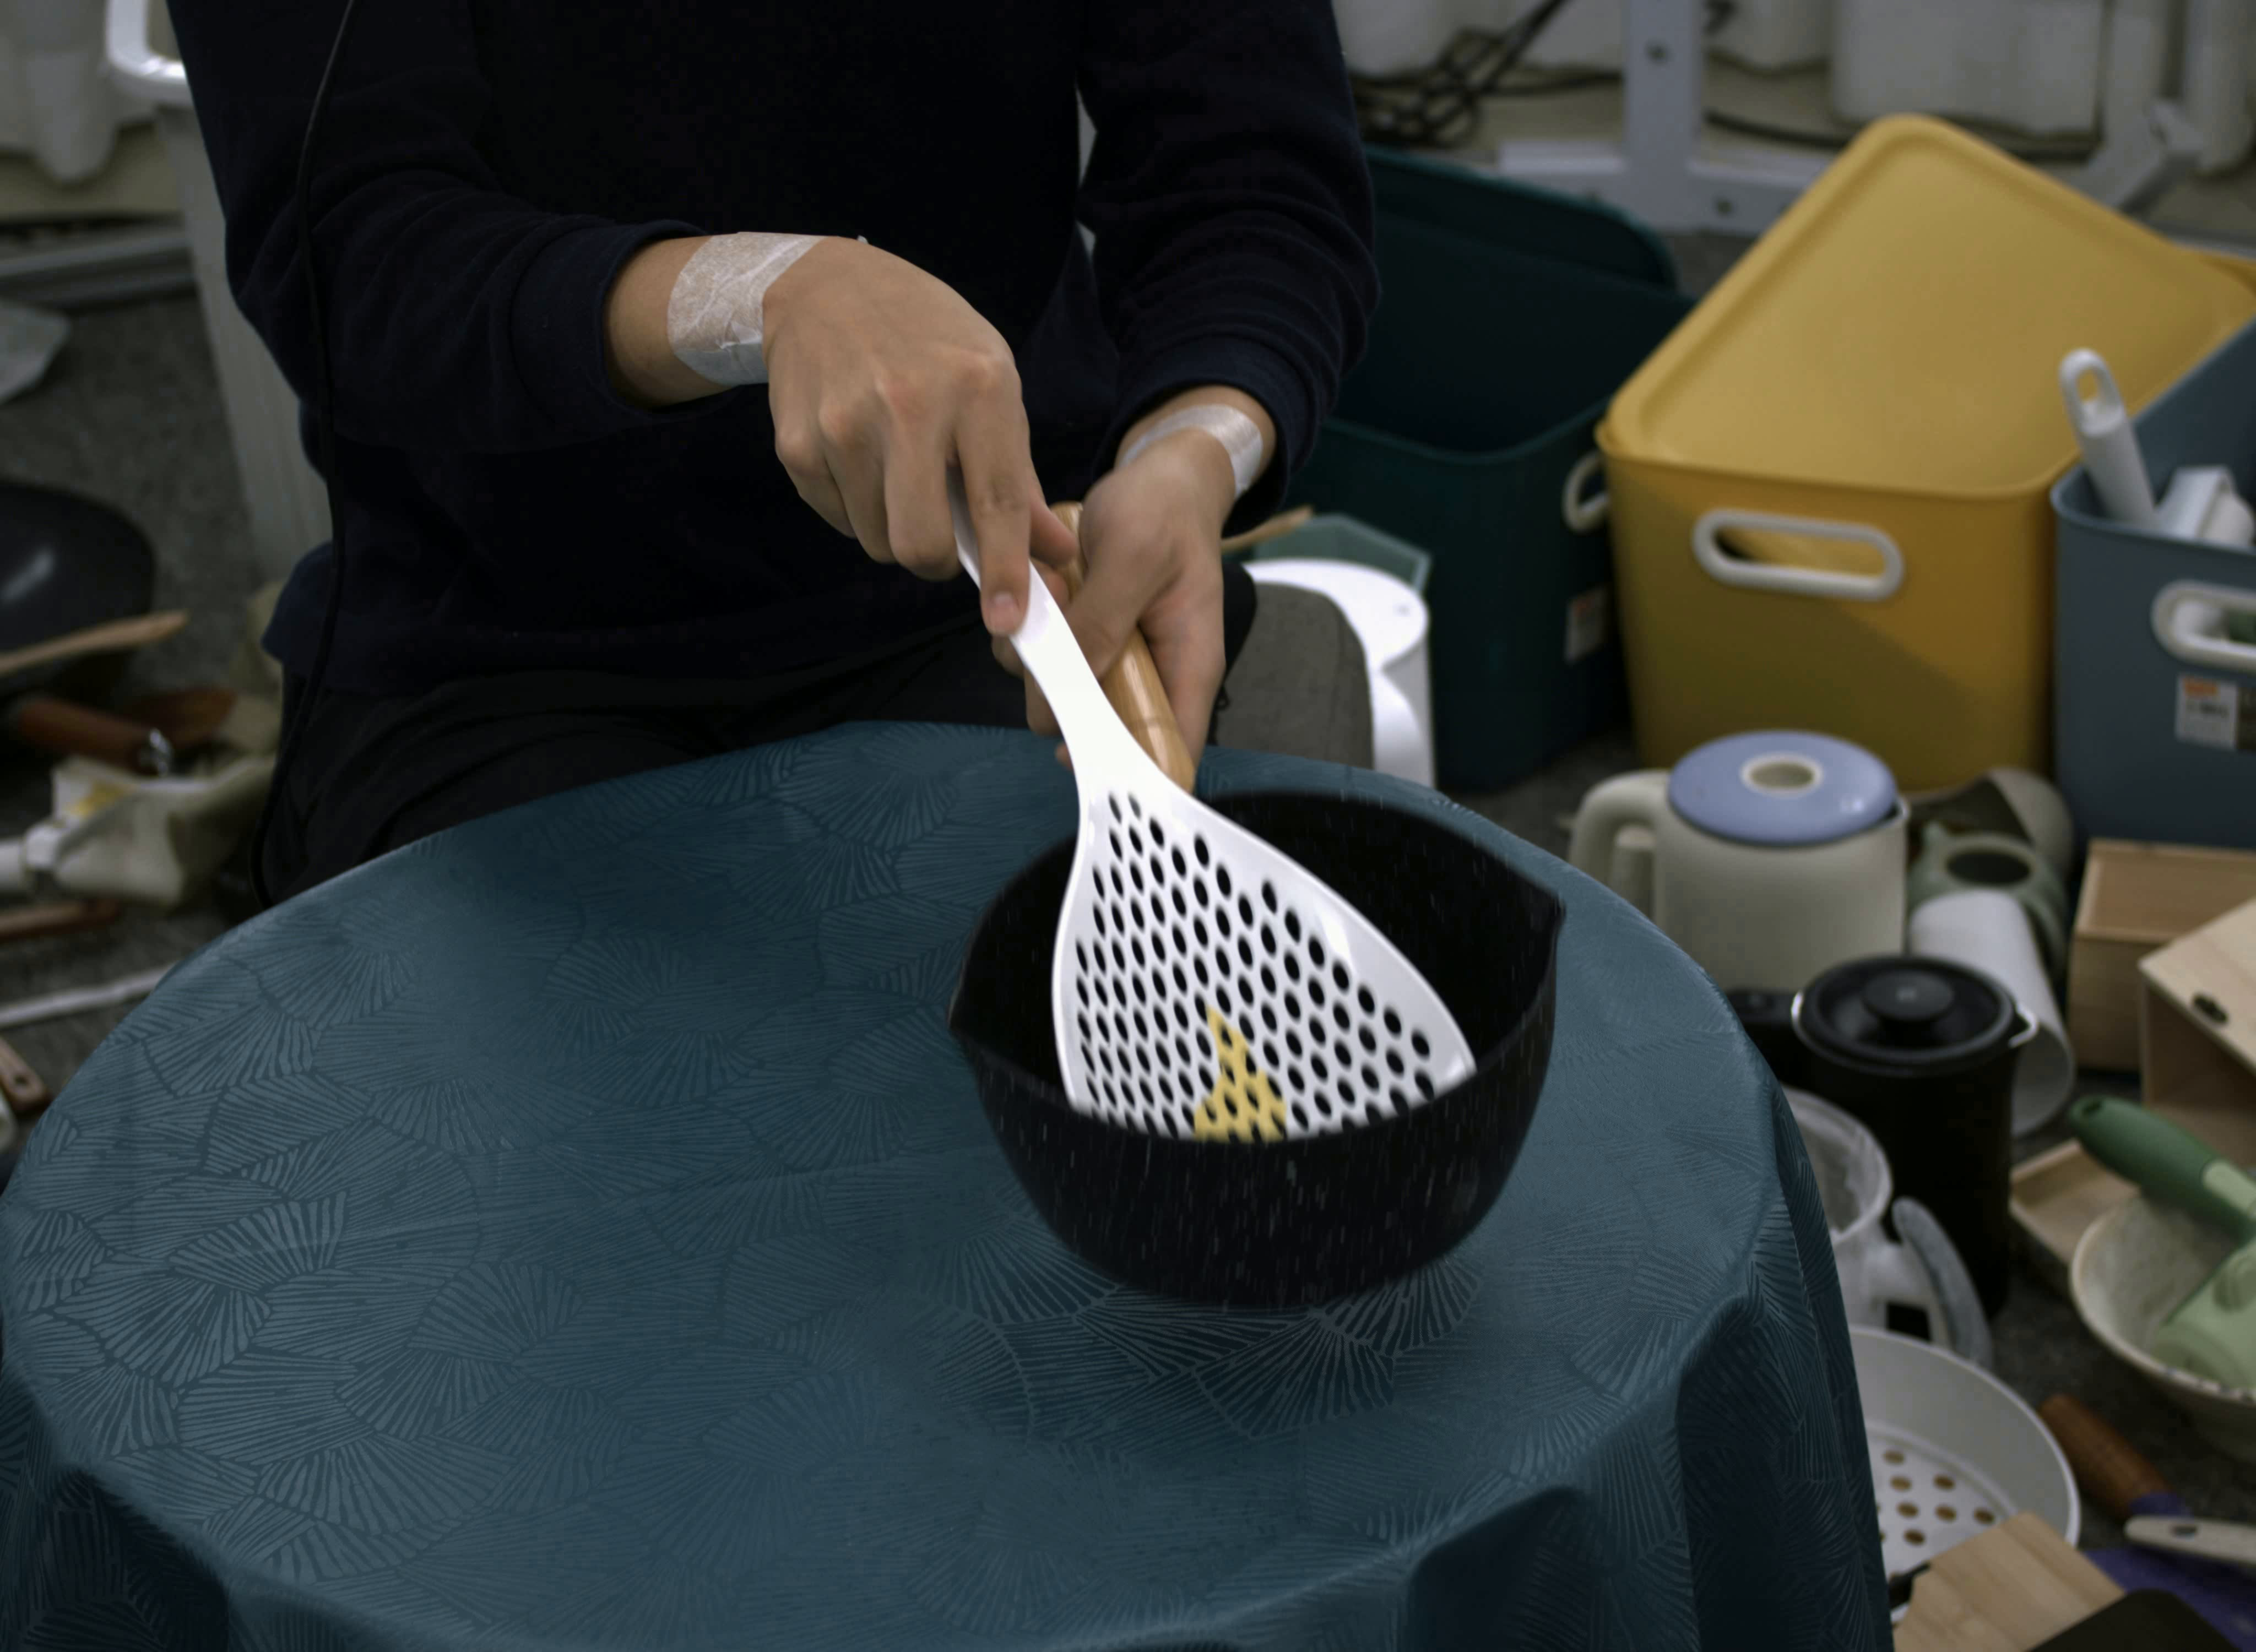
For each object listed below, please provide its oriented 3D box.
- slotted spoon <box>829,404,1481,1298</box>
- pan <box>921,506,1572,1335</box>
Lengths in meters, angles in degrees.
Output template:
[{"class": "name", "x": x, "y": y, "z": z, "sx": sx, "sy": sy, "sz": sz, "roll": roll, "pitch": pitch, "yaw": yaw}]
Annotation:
[{"class": "slotted spoon", "x": -0.005, "y": -0.001, "z": 1.803, "sx": 0.138, "sy": 0.049, "sz": 0.351, "roll": -19, "pitch": 71, "yaw": -25}, {"class": "pan", "x": 0.020, "y": 0.027, "z": 1.828, "sx": 0.207, "sy": 0.107, "sz": 0.347, "roll": -12, "pitch": 36, "yaw": -10}]
